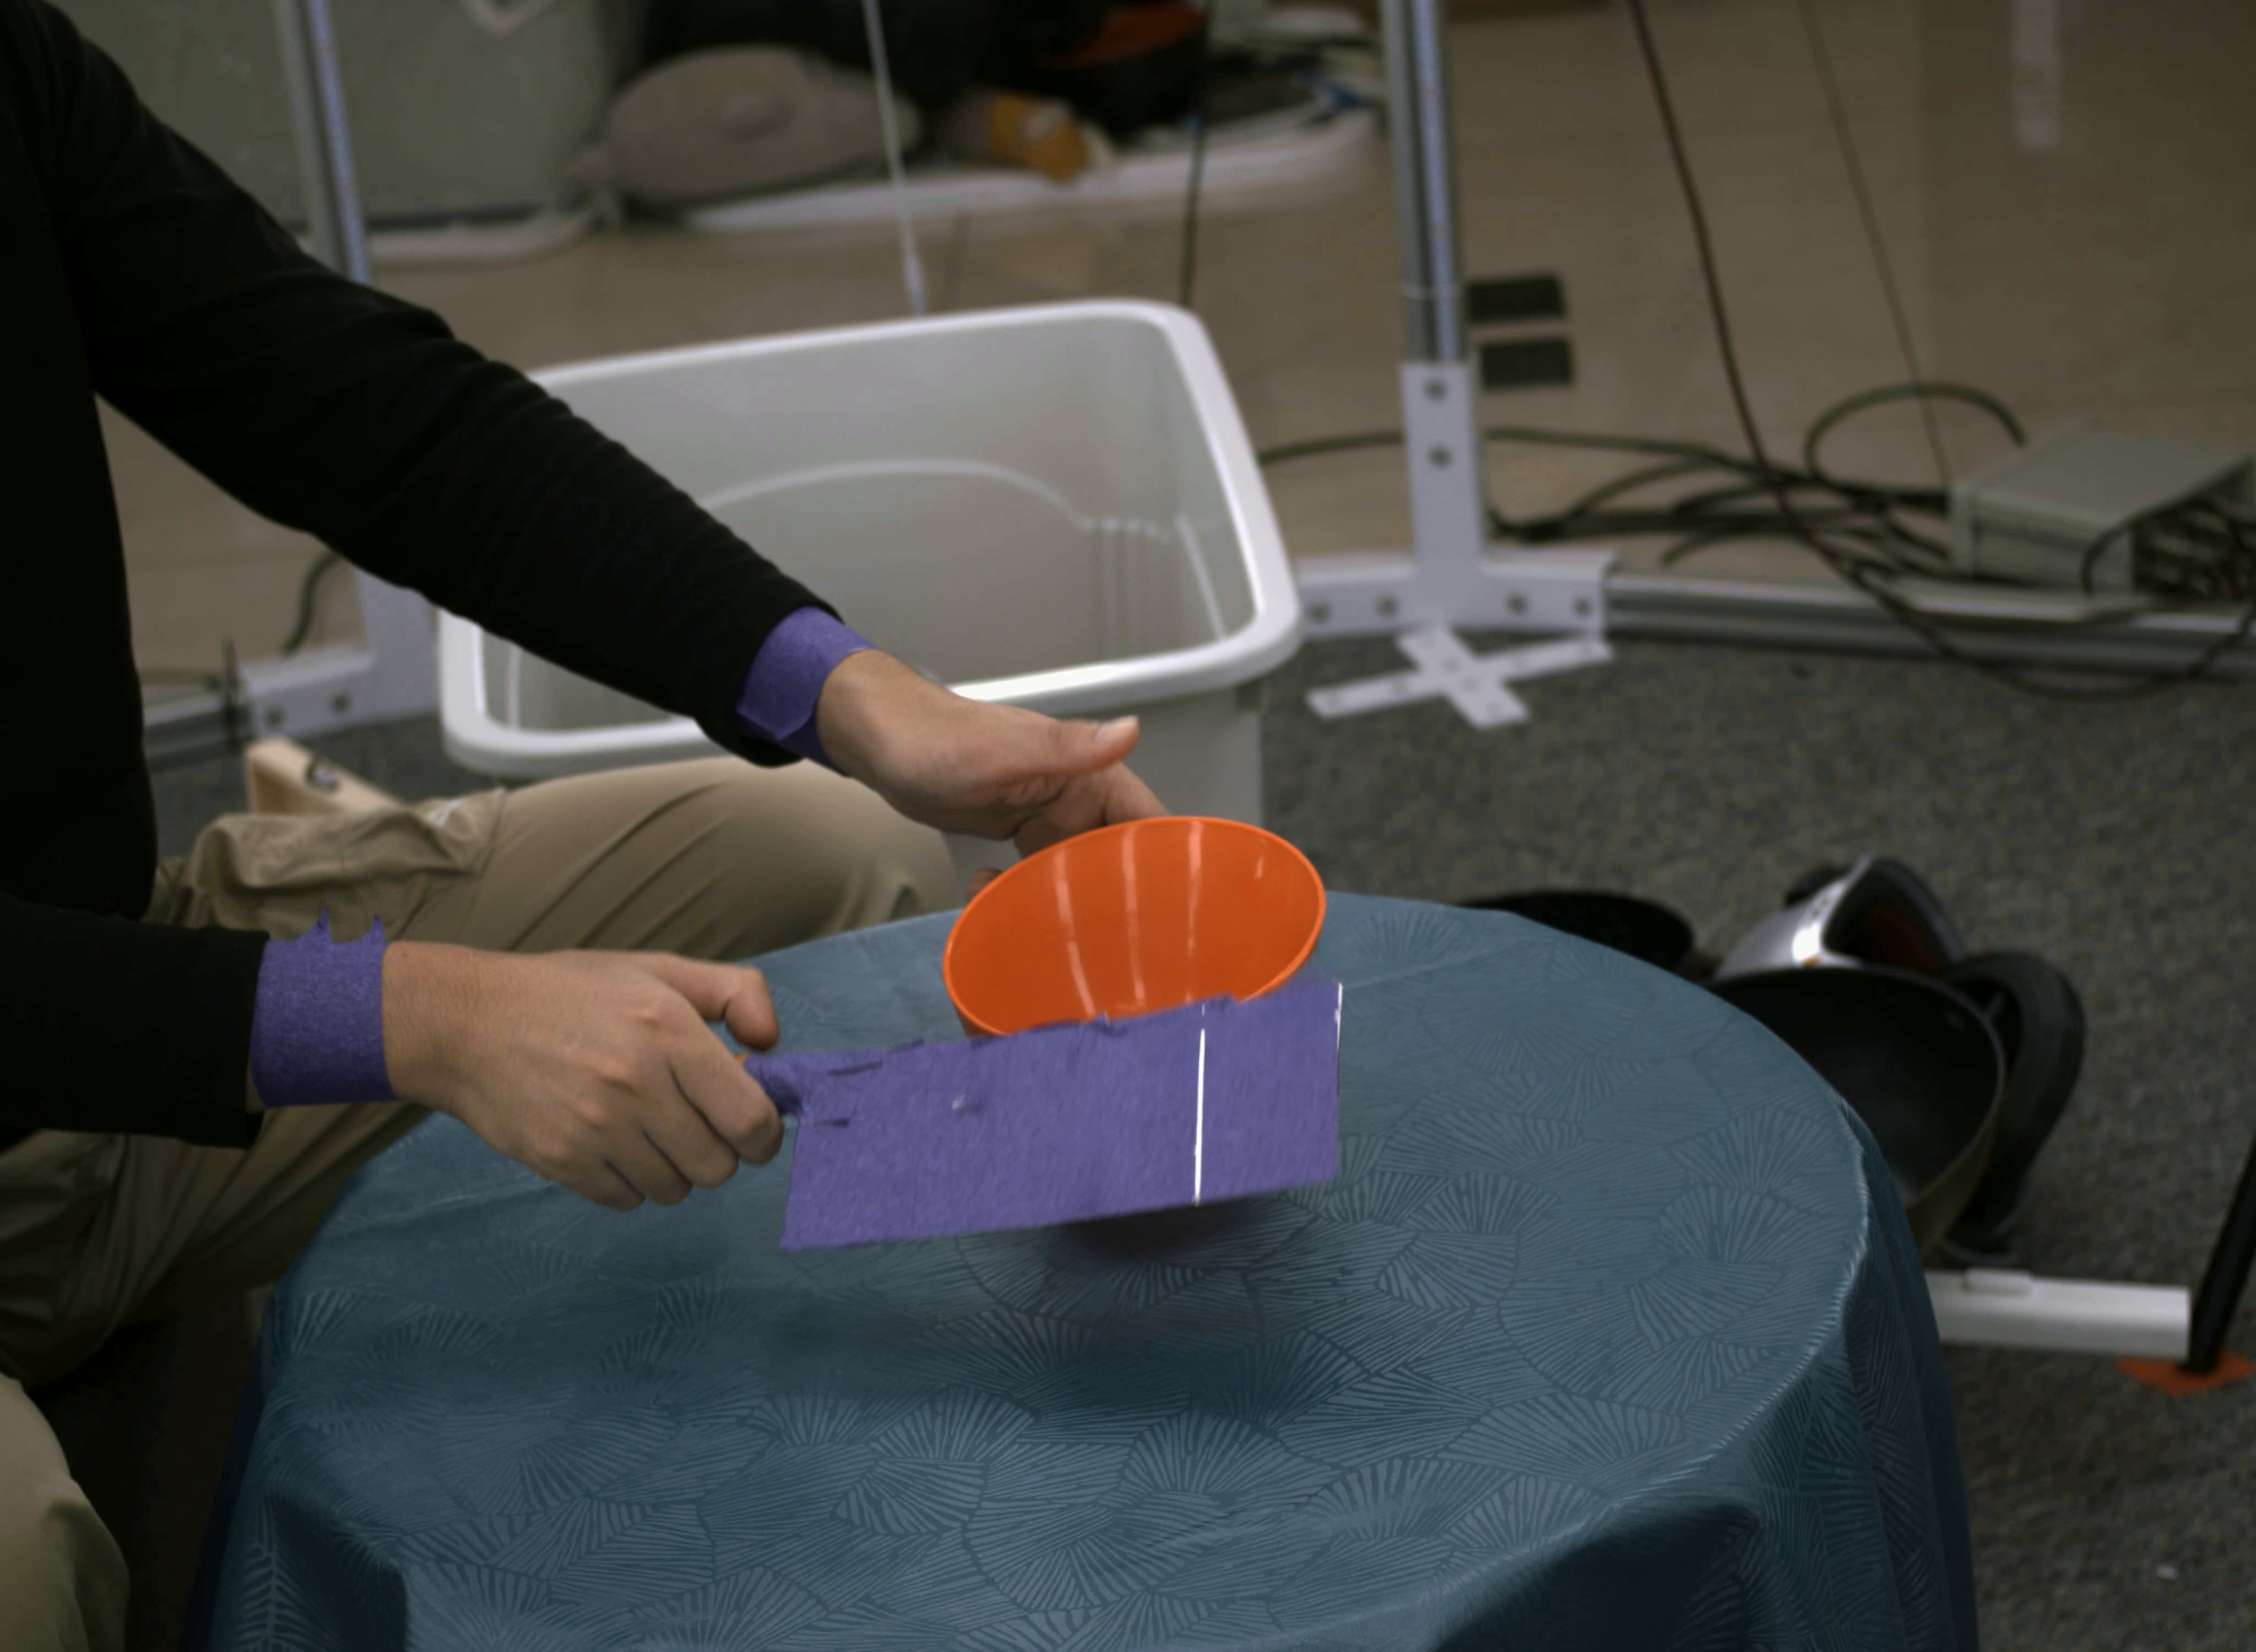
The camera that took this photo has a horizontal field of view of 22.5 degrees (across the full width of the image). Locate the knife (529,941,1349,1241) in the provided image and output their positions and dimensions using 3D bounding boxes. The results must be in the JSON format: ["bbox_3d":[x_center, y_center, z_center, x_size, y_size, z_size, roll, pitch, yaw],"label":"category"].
[{"bbox_3d":[-0.072,0.104,2.042,0.315,0.033,0.102,-11,46,17],"label":"knife"}]

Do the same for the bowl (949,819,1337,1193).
[{"bbox_3d":[0.007,0.075,2.159,0.148,0.106,0.146,-2,26,1],"label":"bowl"}]
